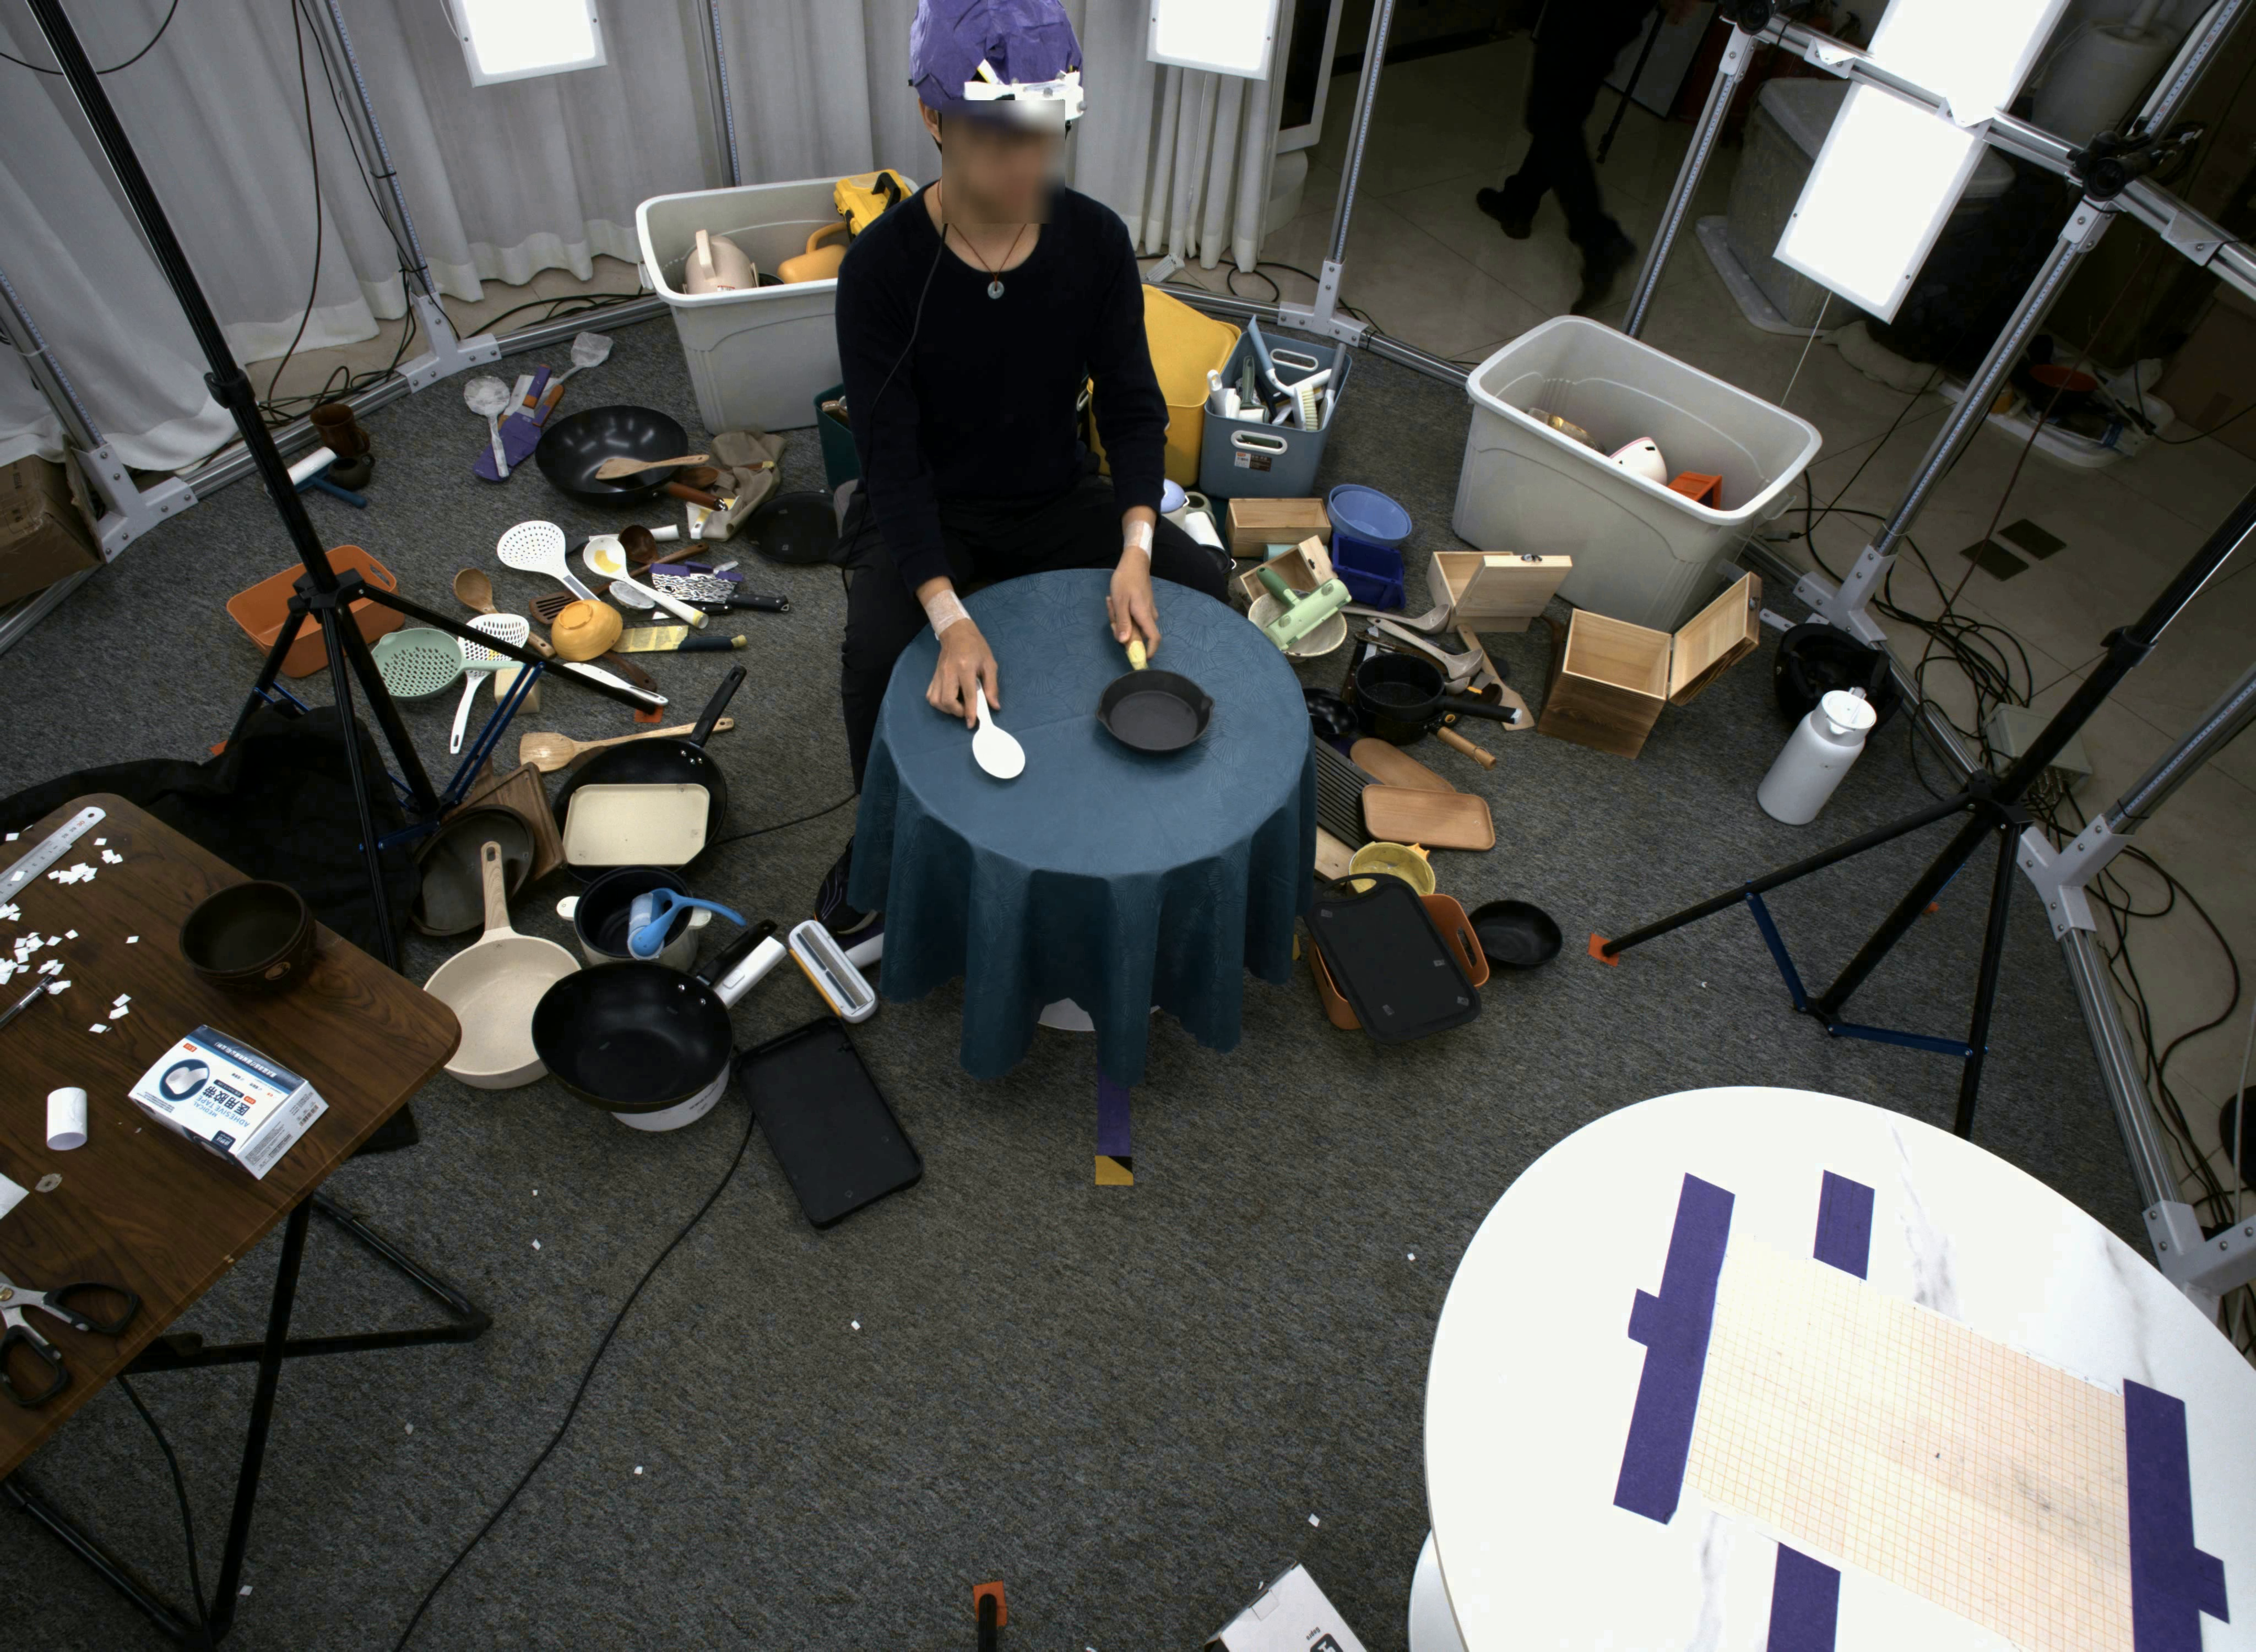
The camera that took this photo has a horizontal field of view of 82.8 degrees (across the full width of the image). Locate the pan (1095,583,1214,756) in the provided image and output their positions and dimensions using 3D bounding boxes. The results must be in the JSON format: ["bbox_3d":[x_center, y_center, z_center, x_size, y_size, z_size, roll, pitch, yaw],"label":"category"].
[{"bbox_3d":[0.021,-0.225,1.832,0.169,0.048,0.332,-6,51,-9],"label":"pan"}]

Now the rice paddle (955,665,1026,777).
[{"bbox_3d":[-0.193,-0.143,1.760,0.068,0.029,0.210,-7,49,-23],"label":"rice paddle"}]
